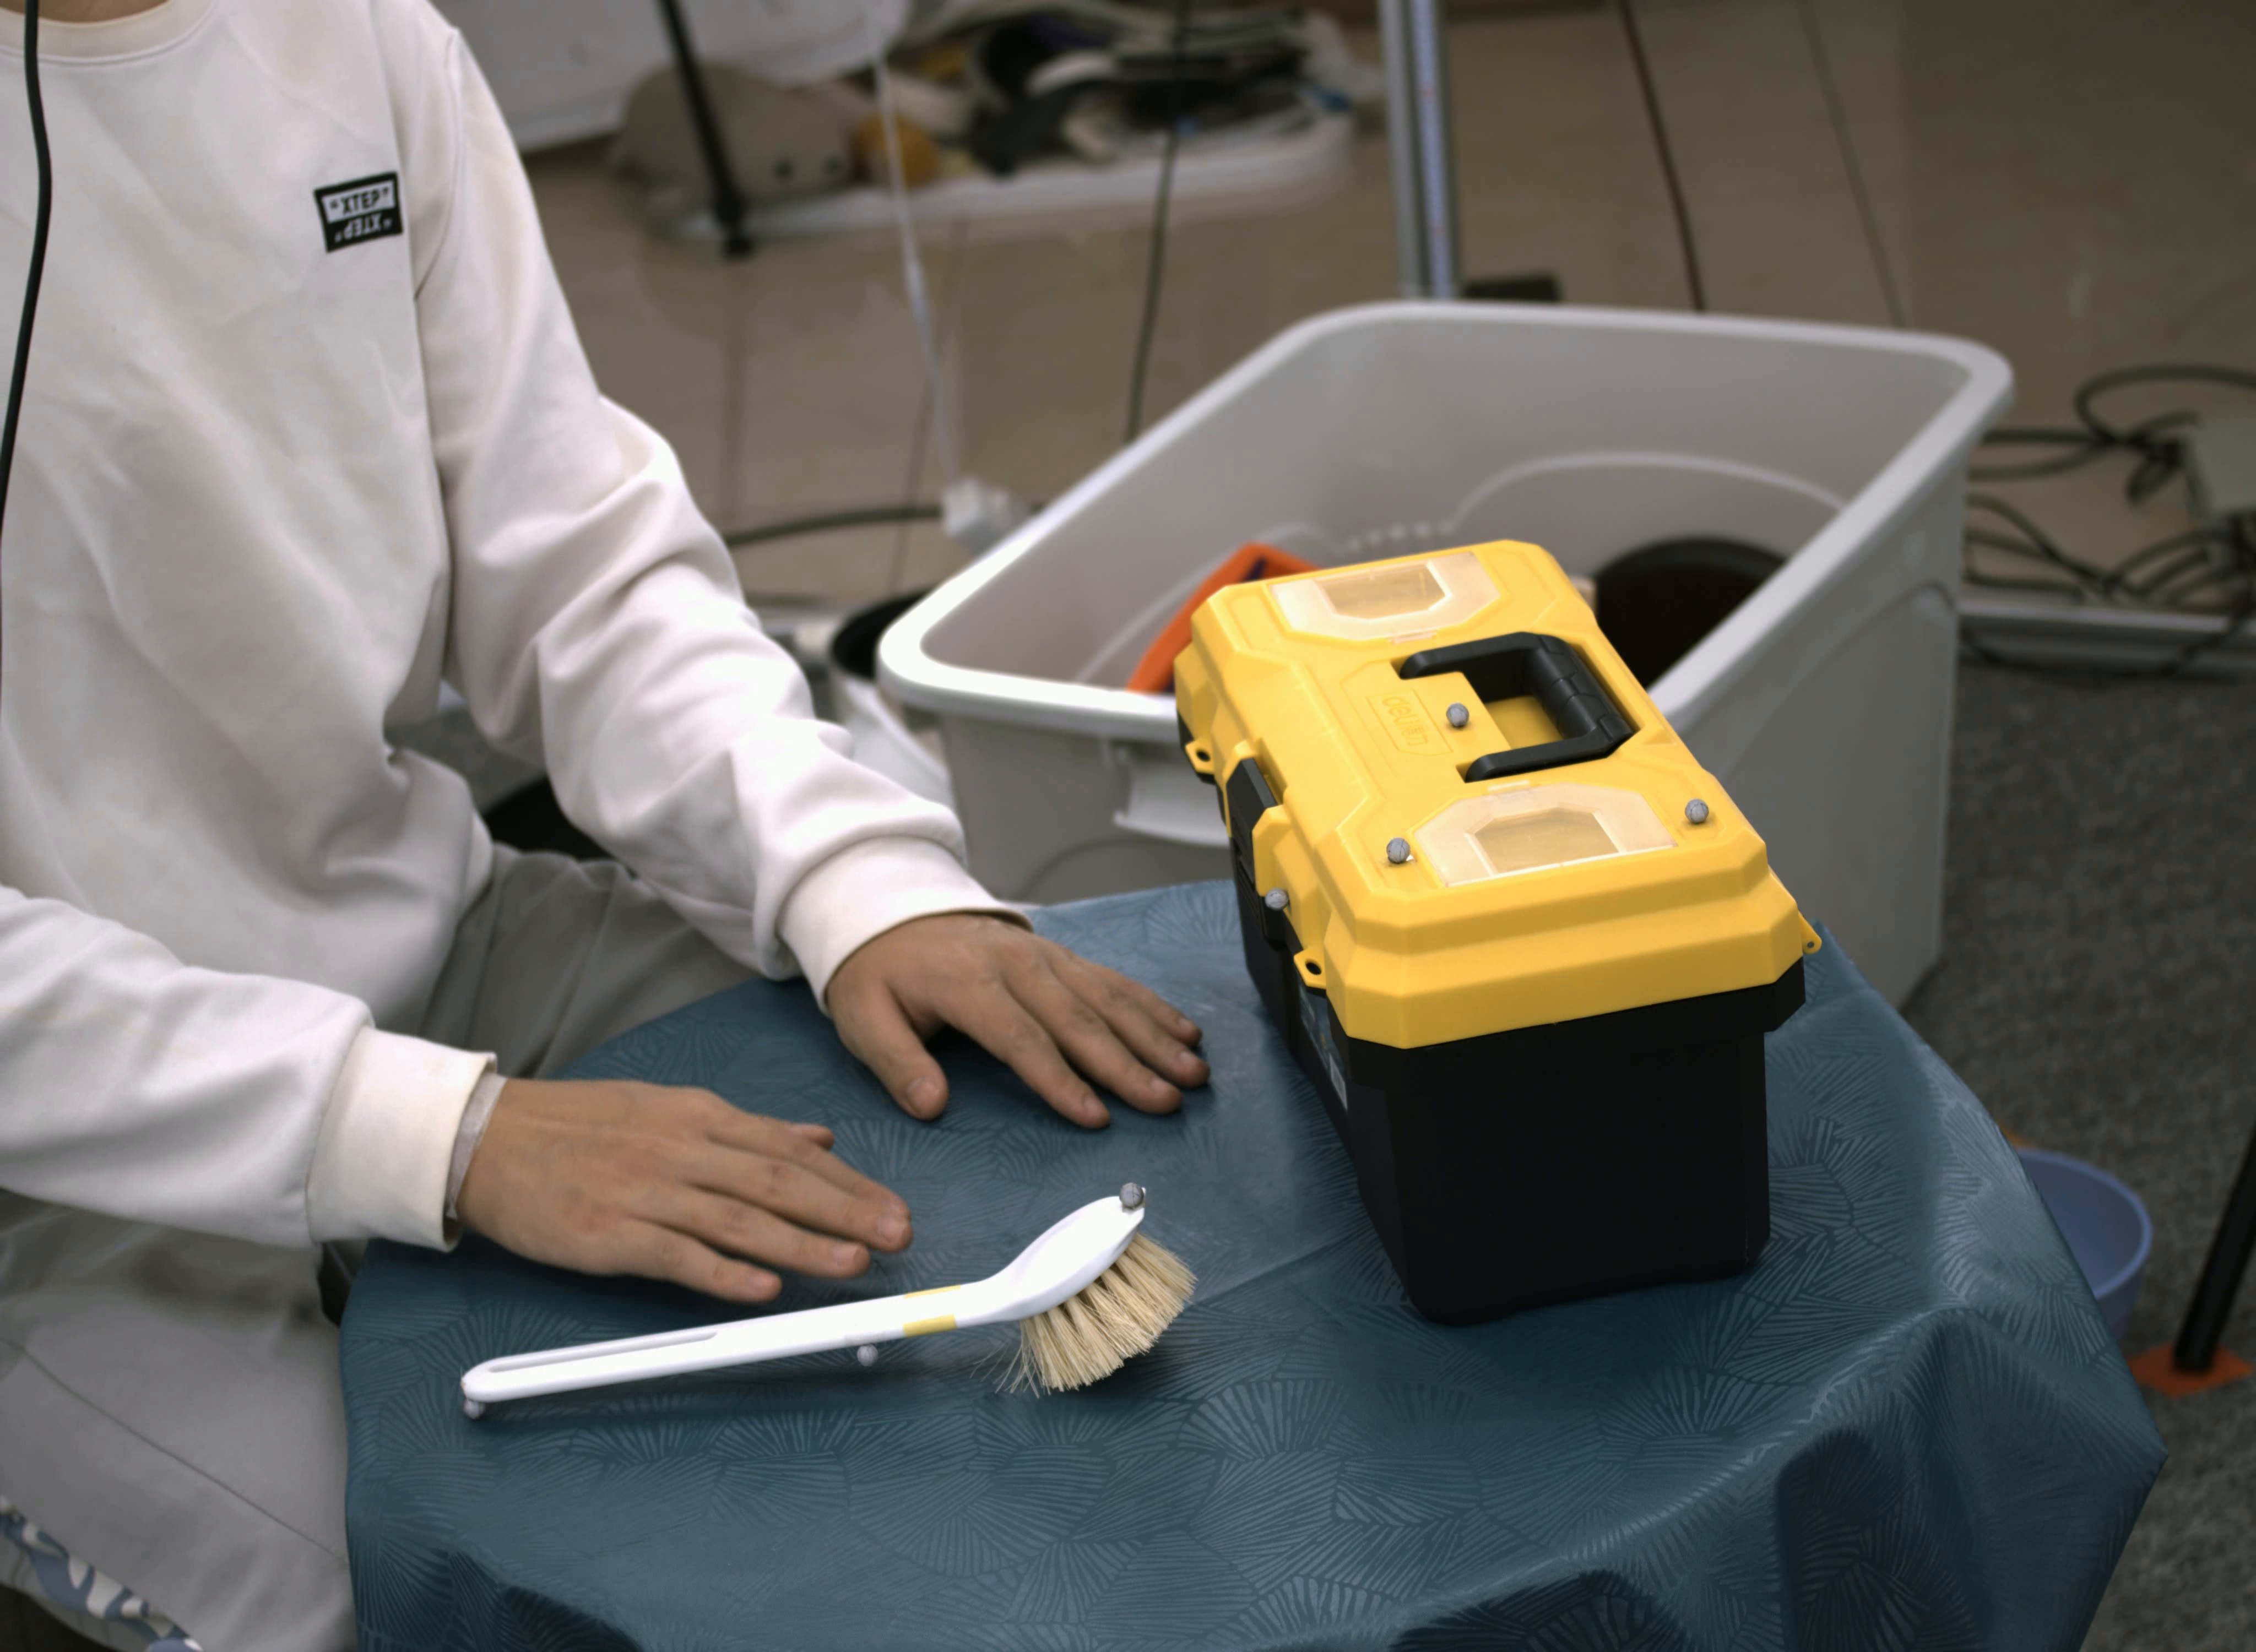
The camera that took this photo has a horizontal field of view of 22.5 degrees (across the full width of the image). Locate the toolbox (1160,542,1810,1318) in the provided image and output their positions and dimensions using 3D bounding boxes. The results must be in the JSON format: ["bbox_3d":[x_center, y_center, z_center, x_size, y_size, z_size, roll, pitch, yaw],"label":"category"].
[{"bbox_3d":[0.130,0.033,2.134,0.181,0.175,0.346,-9,24,-7],"label":"toolbox"}]

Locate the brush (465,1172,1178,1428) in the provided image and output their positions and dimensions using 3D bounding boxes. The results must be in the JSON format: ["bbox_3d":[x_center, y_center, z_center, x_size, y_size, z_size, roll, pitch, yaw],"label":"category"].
[{"bbox_3d":[-0.107,0.192,2.043,0.266,0.056,0.068,-20,3,8],"label":"brush"}]
